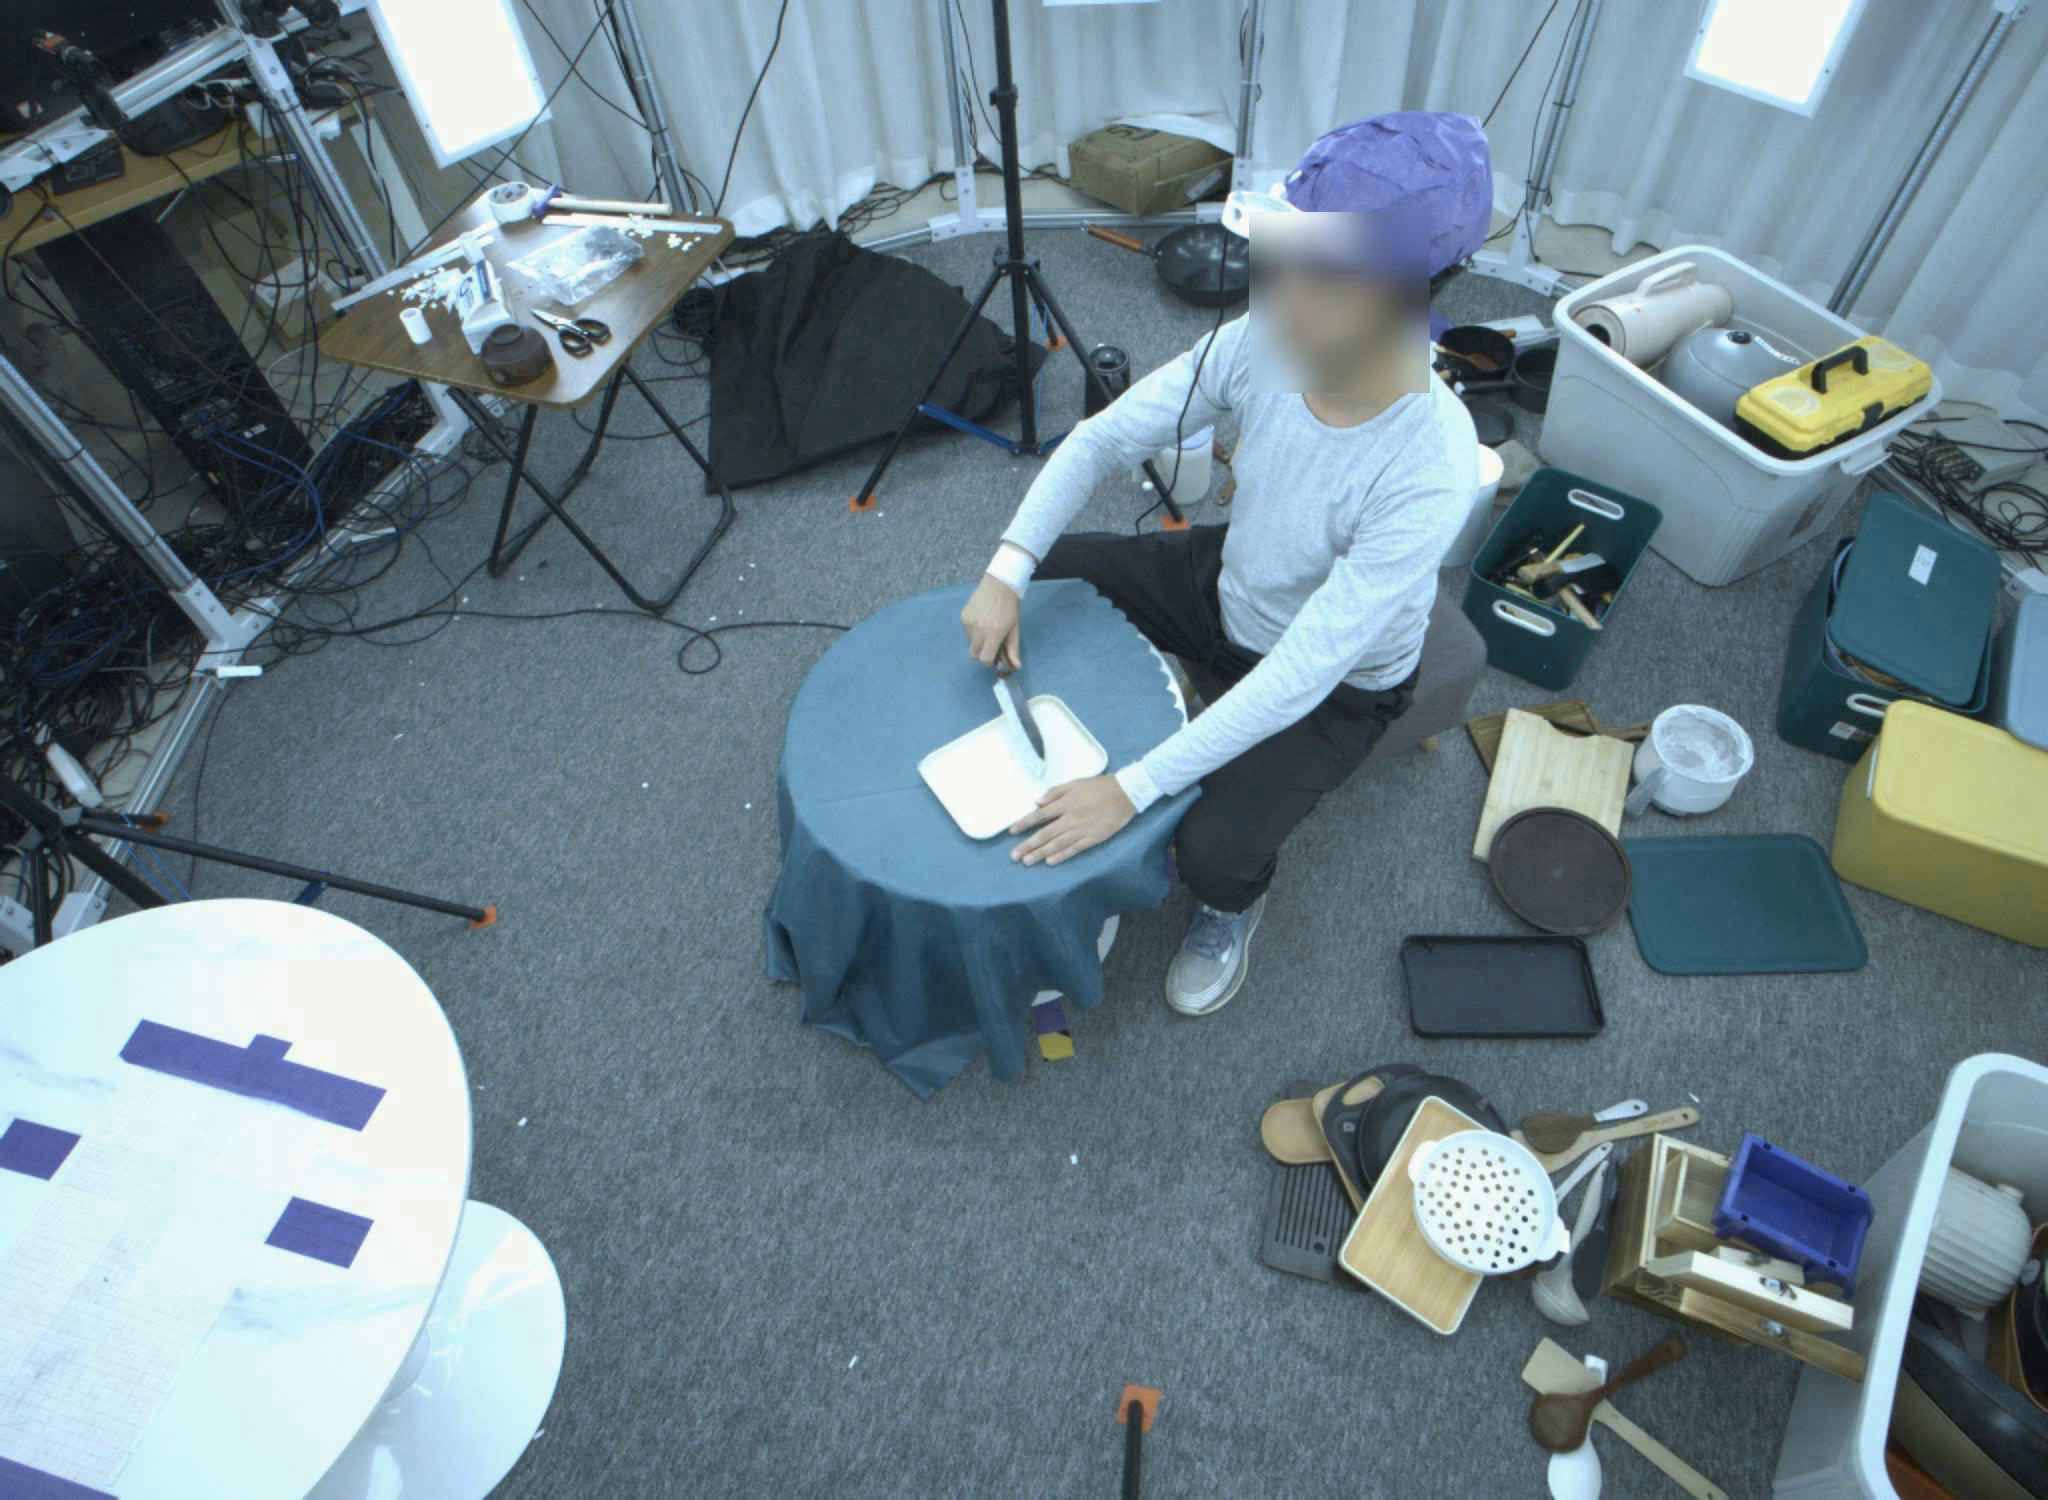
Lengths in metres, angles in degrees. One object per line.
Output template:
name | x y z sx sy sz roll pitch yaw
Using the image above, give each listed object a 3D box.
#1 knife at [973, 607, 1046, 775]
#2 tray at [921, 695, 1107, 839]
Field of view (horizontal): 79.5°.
knife | -0.021 -0.089 1.792 0.020 0.050 0.285 9 52 -49
tray | -0.015 0.023 1.769 0.241 0.017 0.168 -28 59 -18
